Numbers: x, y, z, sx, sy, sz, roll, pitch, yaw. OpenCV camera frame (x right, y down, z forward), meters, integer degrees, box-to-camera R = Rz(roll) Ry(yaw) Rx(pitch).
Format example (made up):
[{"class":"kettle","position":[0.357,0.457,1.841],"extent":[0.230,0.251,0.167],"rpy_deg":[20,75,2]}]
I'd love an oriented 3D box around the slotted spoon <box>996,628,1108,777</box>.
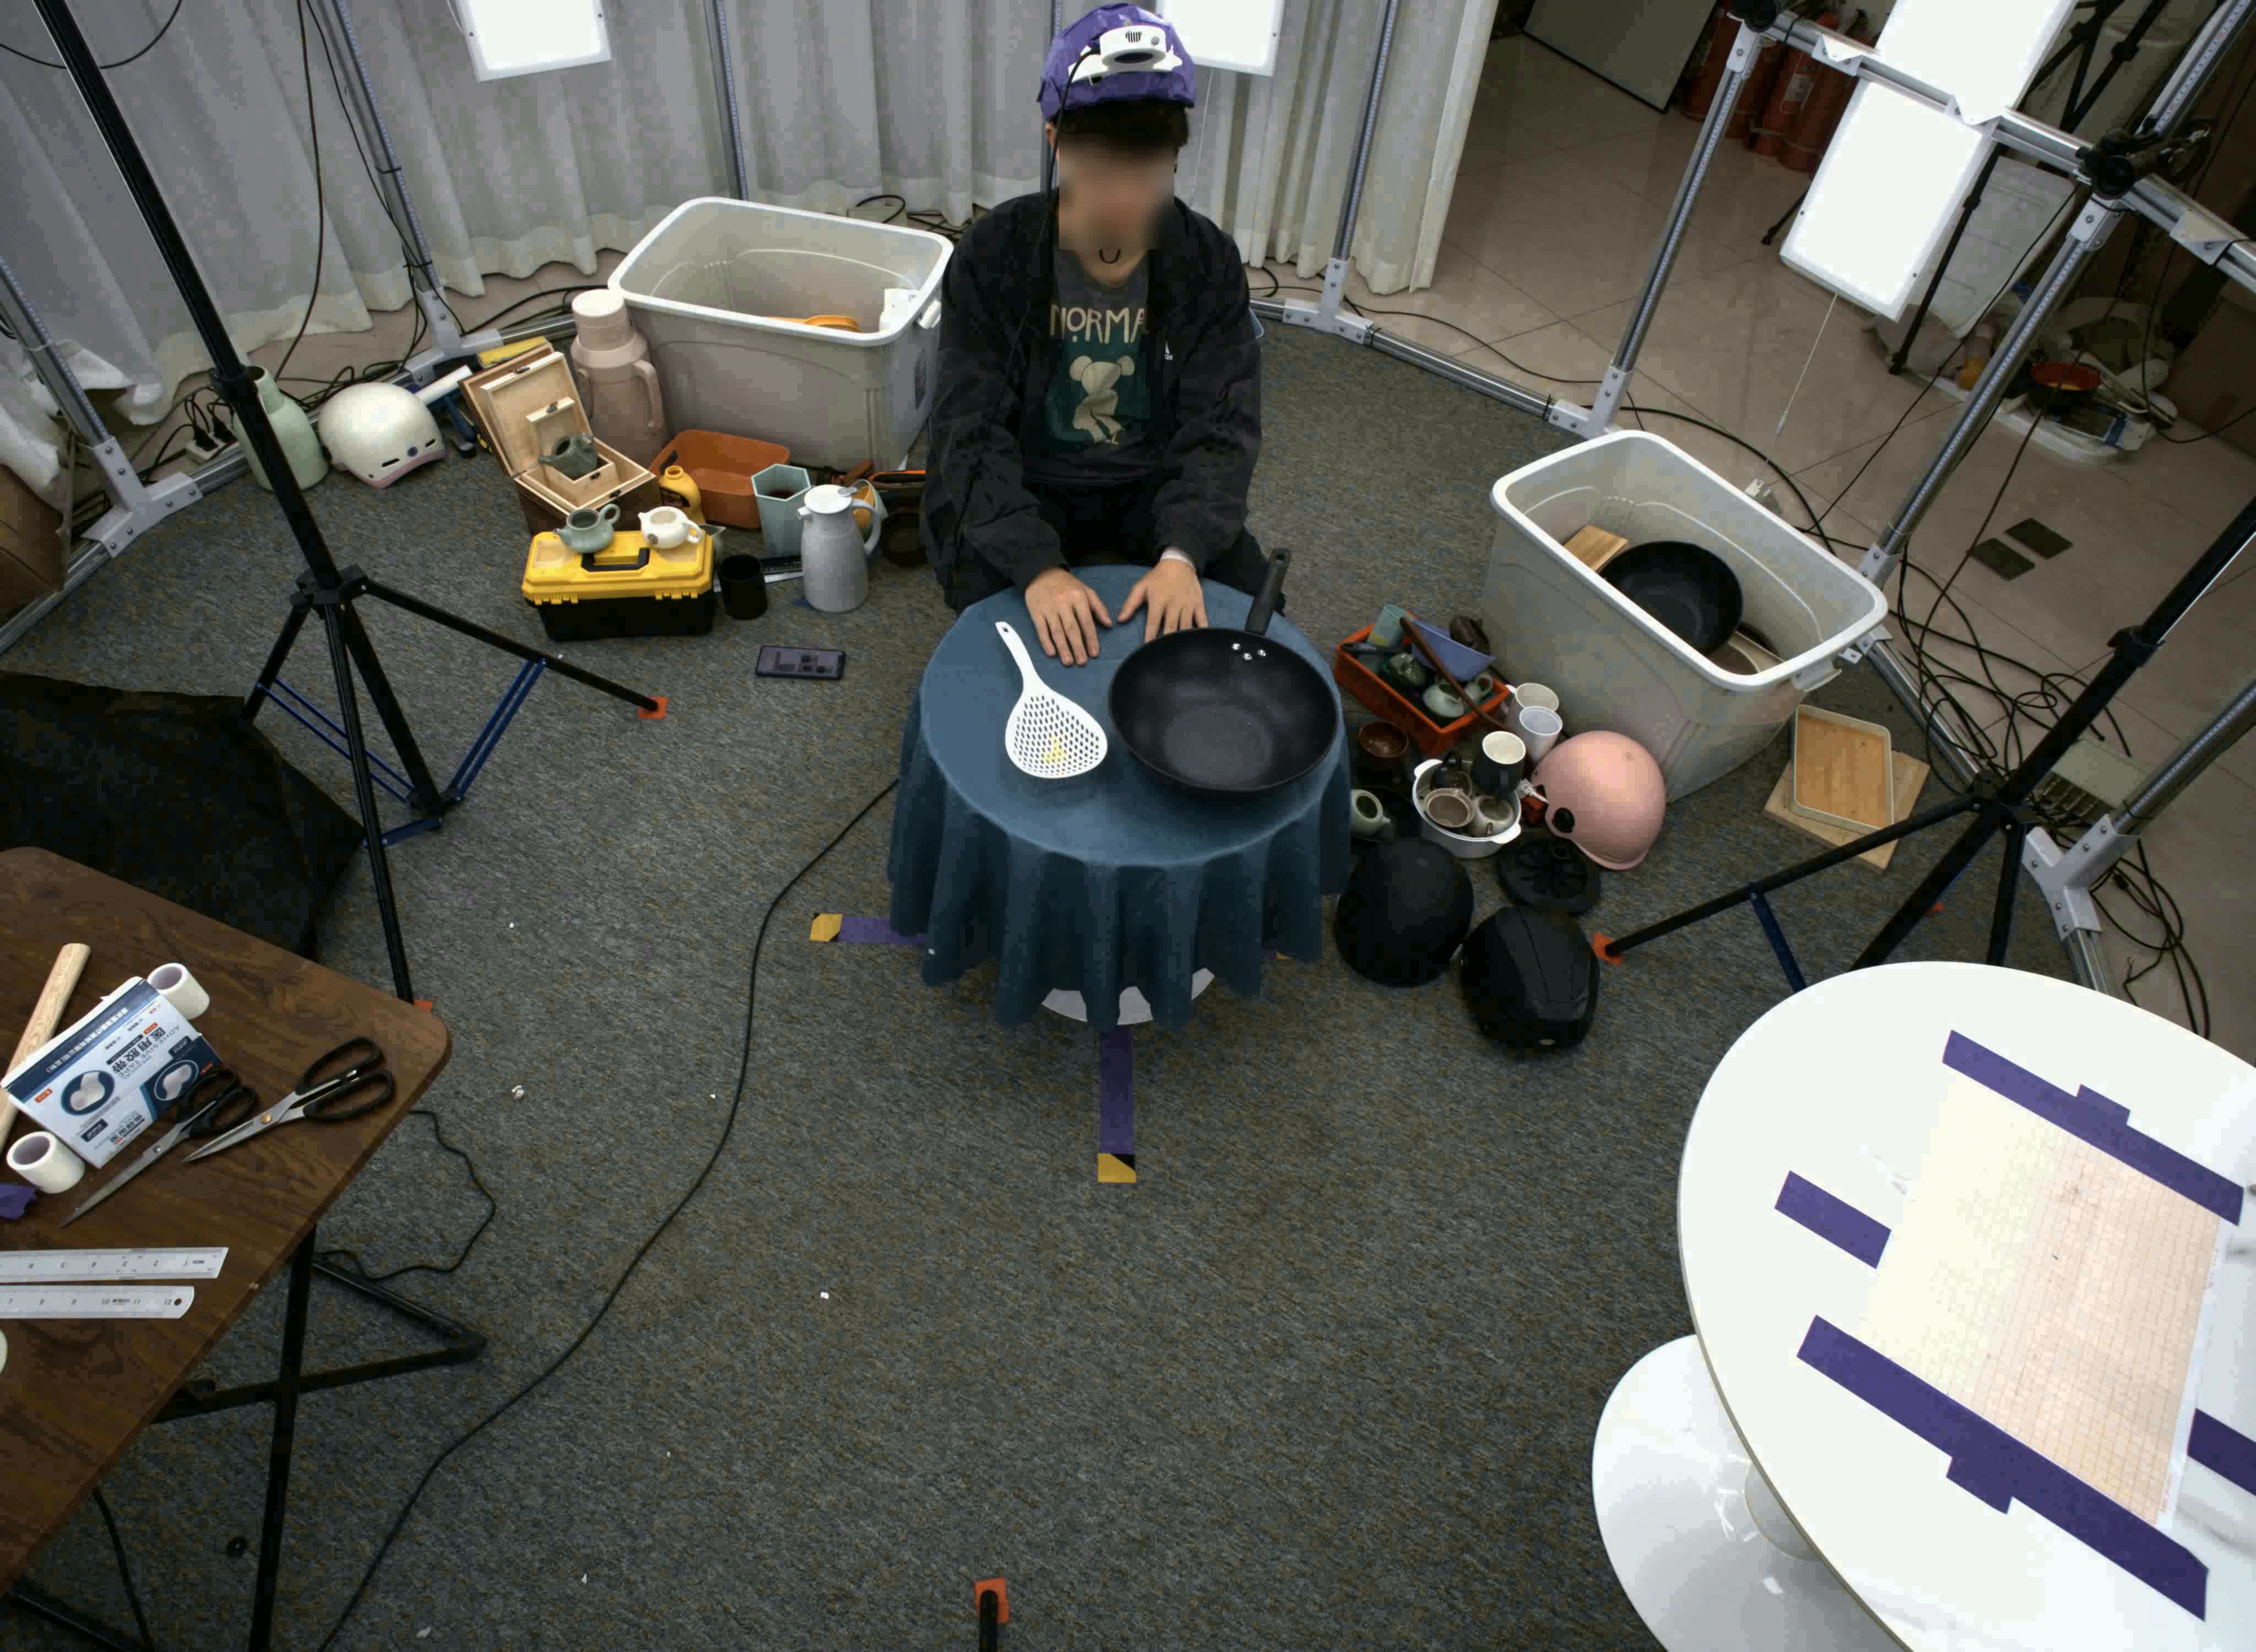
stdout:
[{"class":"slotted spoon","position":[-0.130,-0.183,1.791],"extent":[0.137,0.049,0.356],"rpy_deg":[-13,50,-12]}]

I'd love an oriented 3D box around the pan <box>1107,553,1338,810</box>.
[{"class":"pan","position":[0.150,-0.196,1.778],"extent":[0.311,0.109,0.487],"rpy_deg":[16,50,9]}]
